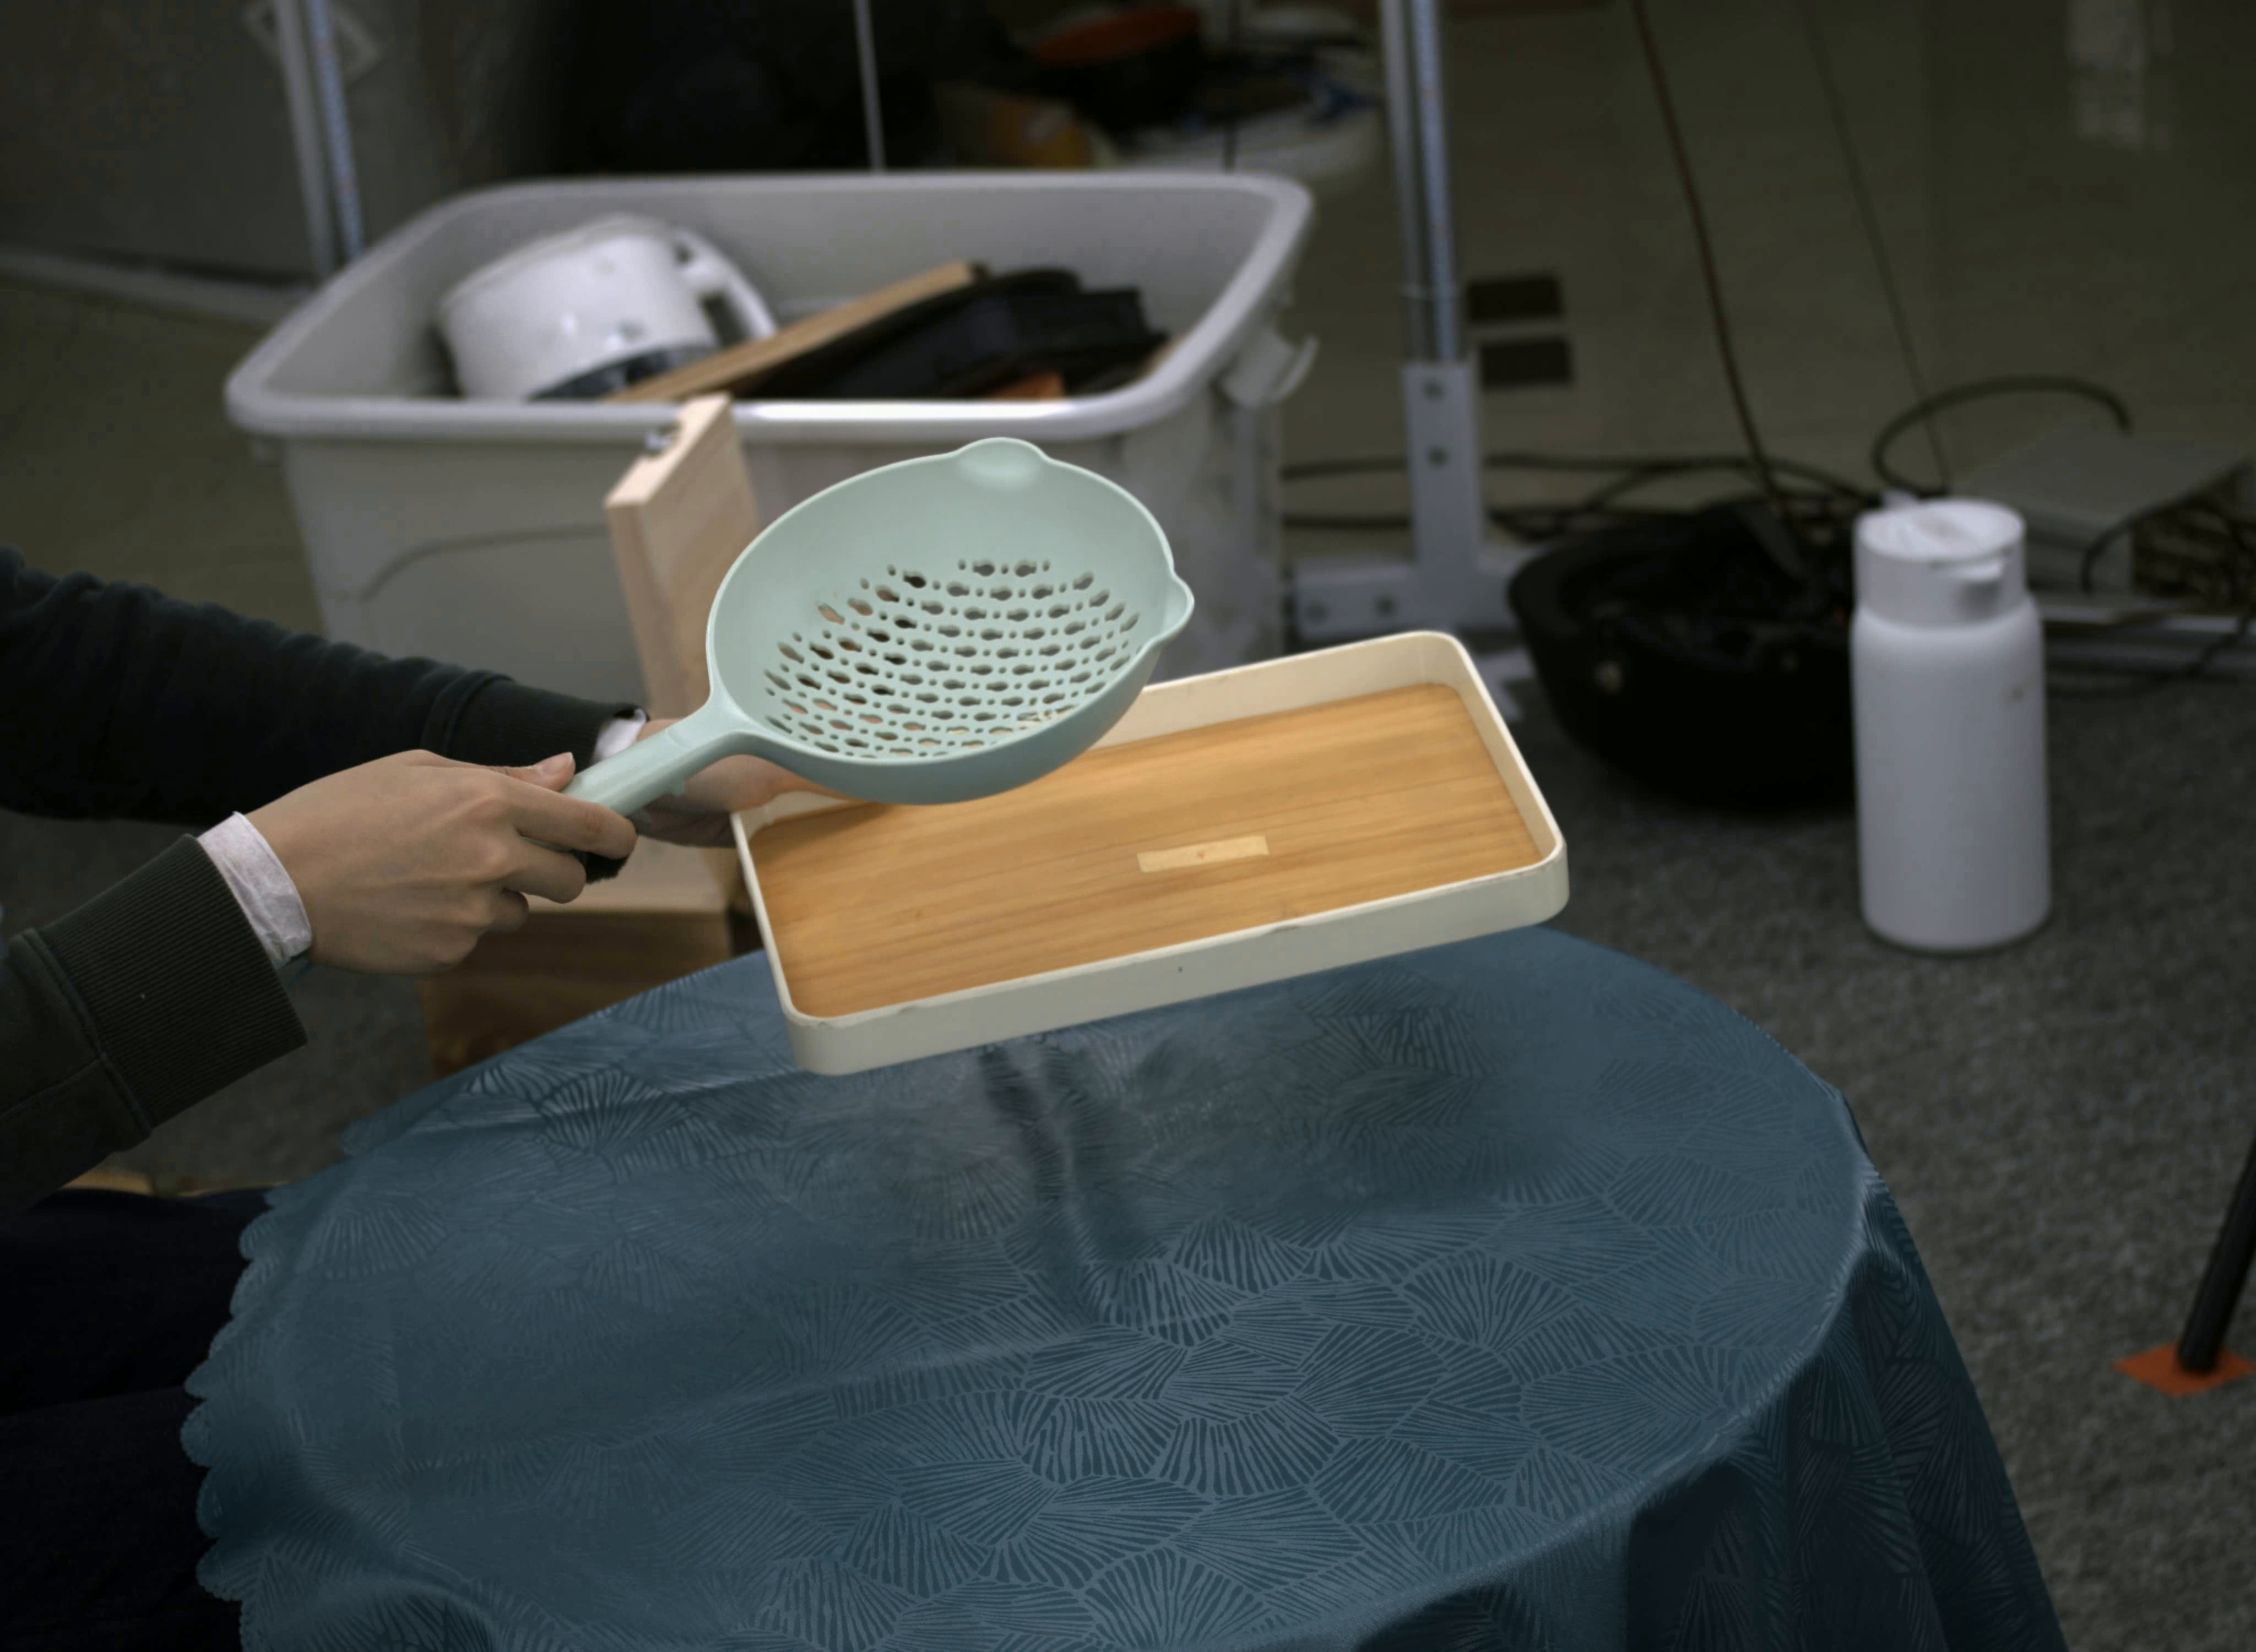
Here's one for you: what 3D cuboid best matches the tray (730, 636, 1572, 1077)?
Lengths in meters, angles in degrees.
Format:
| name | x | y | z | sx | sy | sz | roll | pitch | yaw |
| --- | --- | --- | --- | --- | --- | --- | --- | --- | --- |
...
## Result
| name | x | y | z | sx | sy | sz | roll | pitch | yaw |
| --- | --- | --- | --- | --- | --- | --- | --- | --- | --- |
| tray | 0.005 | 0.009 | 2.170 | 0.299 | 0.028 | 0.188 | -12 | 33 | -5 |

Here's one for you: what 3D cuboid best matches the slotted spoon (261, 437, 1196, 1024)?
| name | x | y | z | sx | sy | sz | roll | pitch | yaw |
| --- | --- | --- | --- | --- | --- | --- | --- | --- | --- |
| slotted spoon | -0.147 | -0.025 | 2.006 | 0.357 | 0.077 | 0.167 | -23 | 44 | -22 |
